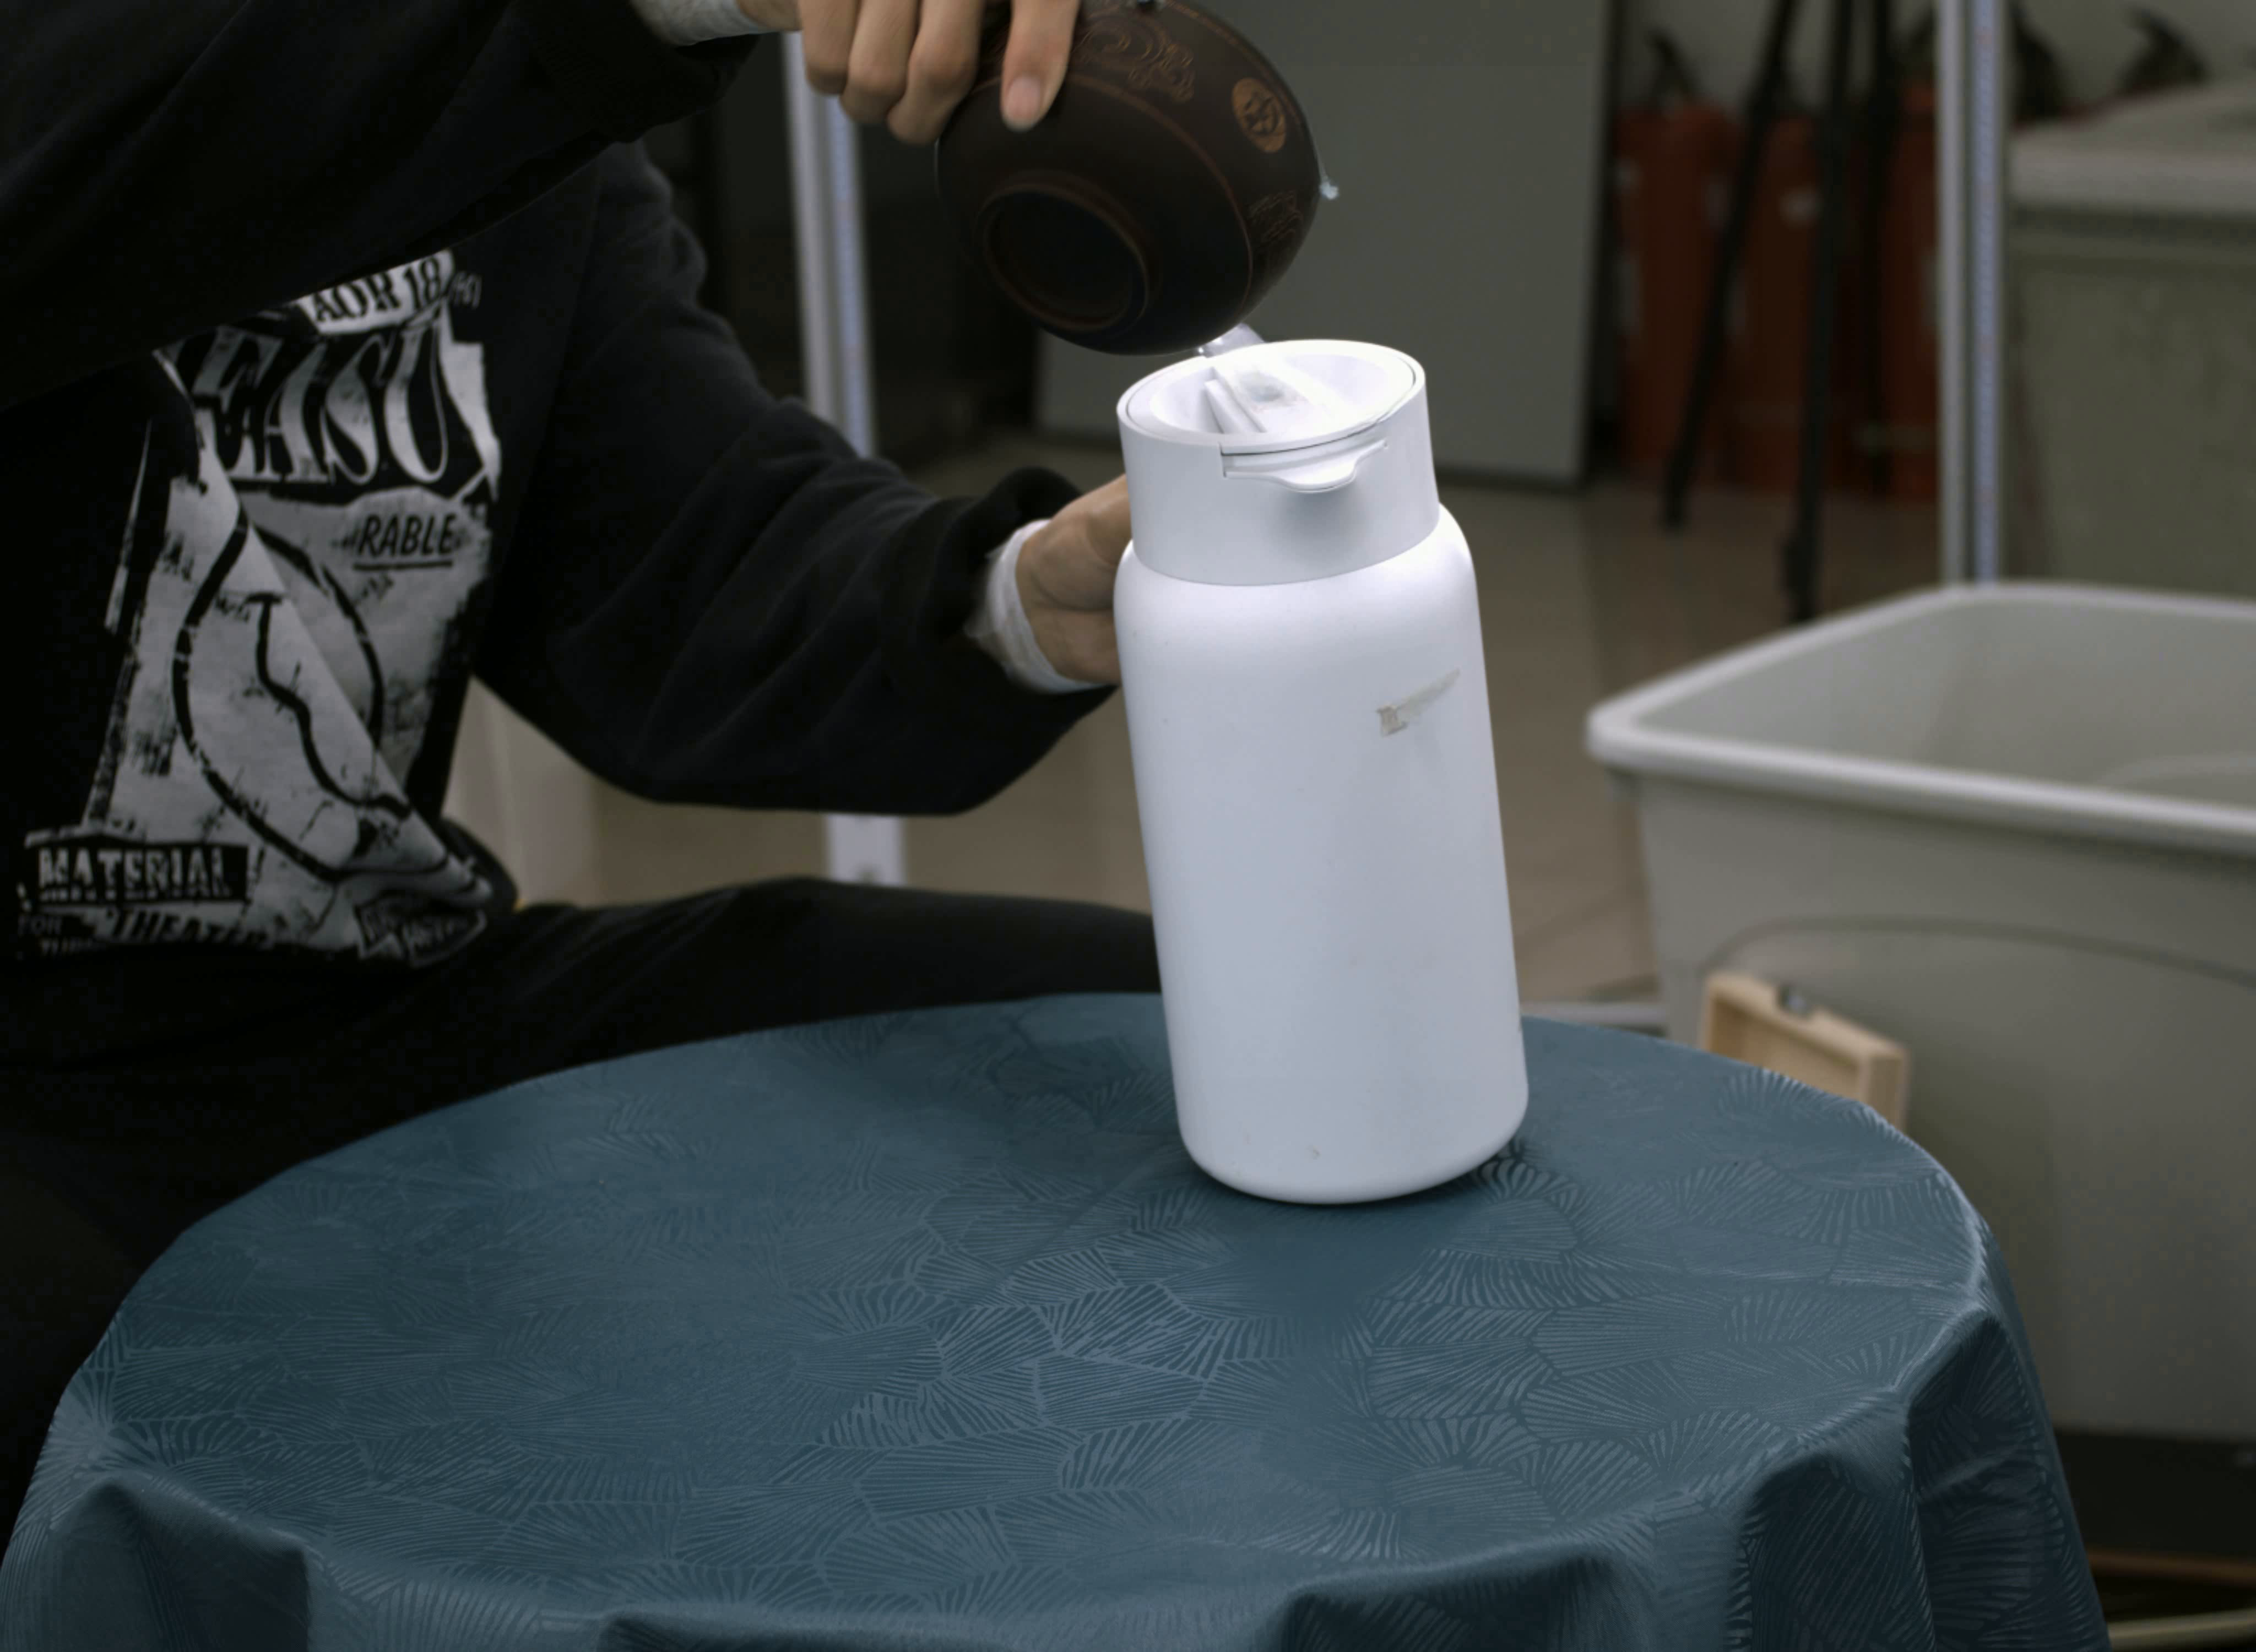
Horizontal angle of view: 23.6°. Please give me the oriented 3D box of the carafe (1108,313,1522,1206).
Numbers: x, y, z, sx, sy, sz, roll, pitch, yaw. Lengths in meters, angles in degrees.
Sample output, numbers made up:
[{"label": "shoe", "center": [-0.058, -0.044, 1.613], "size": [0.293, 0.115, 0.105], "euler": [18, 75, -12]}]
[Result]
[{"label": "carafe", "center": [0.053, -0.026, 1.756], "size": [0.122, 0.271, 0.174], "euler": [-14, 23, -9]}]

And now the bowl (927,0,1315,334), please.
[{"label": "bowl", "center": [-0.008, -0.198, 1.623], "size": [0.118, 0.118, 0.069], "euler": [5, 43, 30]}]
